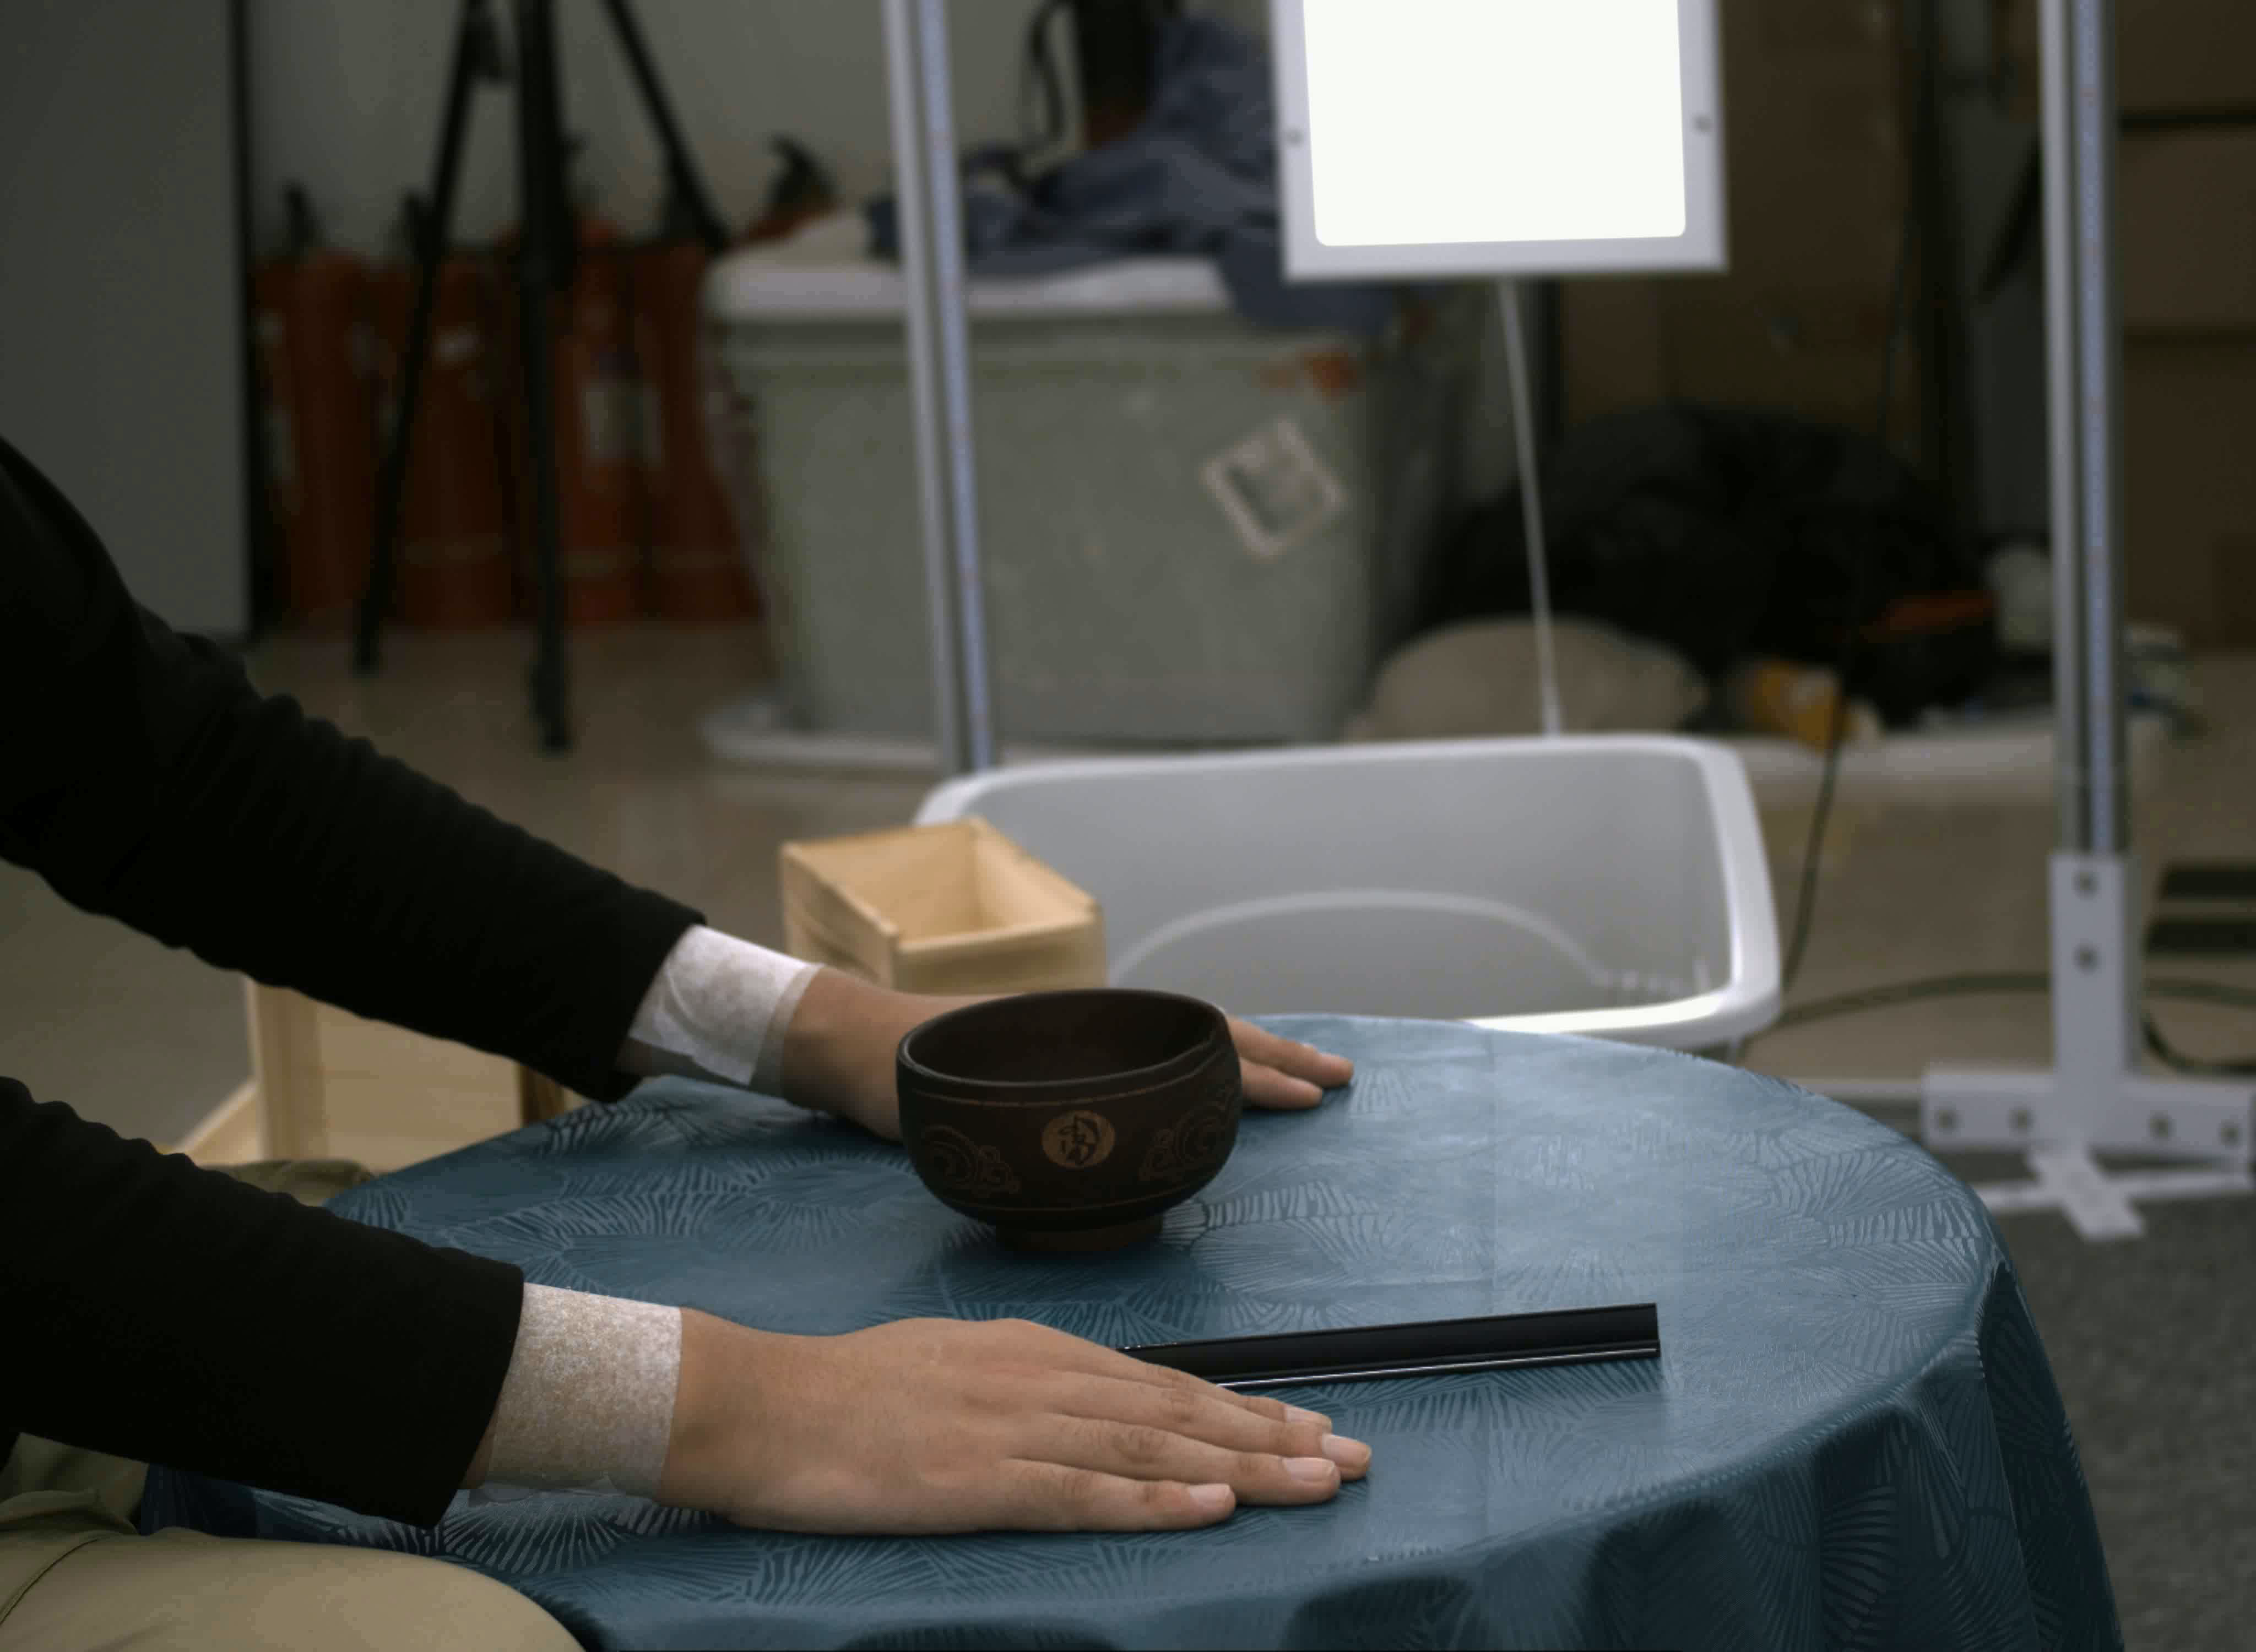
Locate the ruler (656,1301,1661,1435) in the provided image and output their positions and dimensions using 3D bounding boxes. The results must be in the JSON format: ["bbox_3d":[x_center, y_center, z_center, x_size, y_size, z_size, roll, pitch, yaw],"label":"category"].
[{"bbox_3d":[0.009,0.164,1.709,0.312,0.017,0.039,-5,9,2],"label":"ruler"}]

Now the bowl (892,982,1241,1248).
[{"bbox_3d":[-0.020,0.101,1.856,0.118,0.070,0.118,-4,13,0],"label":"bowl"}]
